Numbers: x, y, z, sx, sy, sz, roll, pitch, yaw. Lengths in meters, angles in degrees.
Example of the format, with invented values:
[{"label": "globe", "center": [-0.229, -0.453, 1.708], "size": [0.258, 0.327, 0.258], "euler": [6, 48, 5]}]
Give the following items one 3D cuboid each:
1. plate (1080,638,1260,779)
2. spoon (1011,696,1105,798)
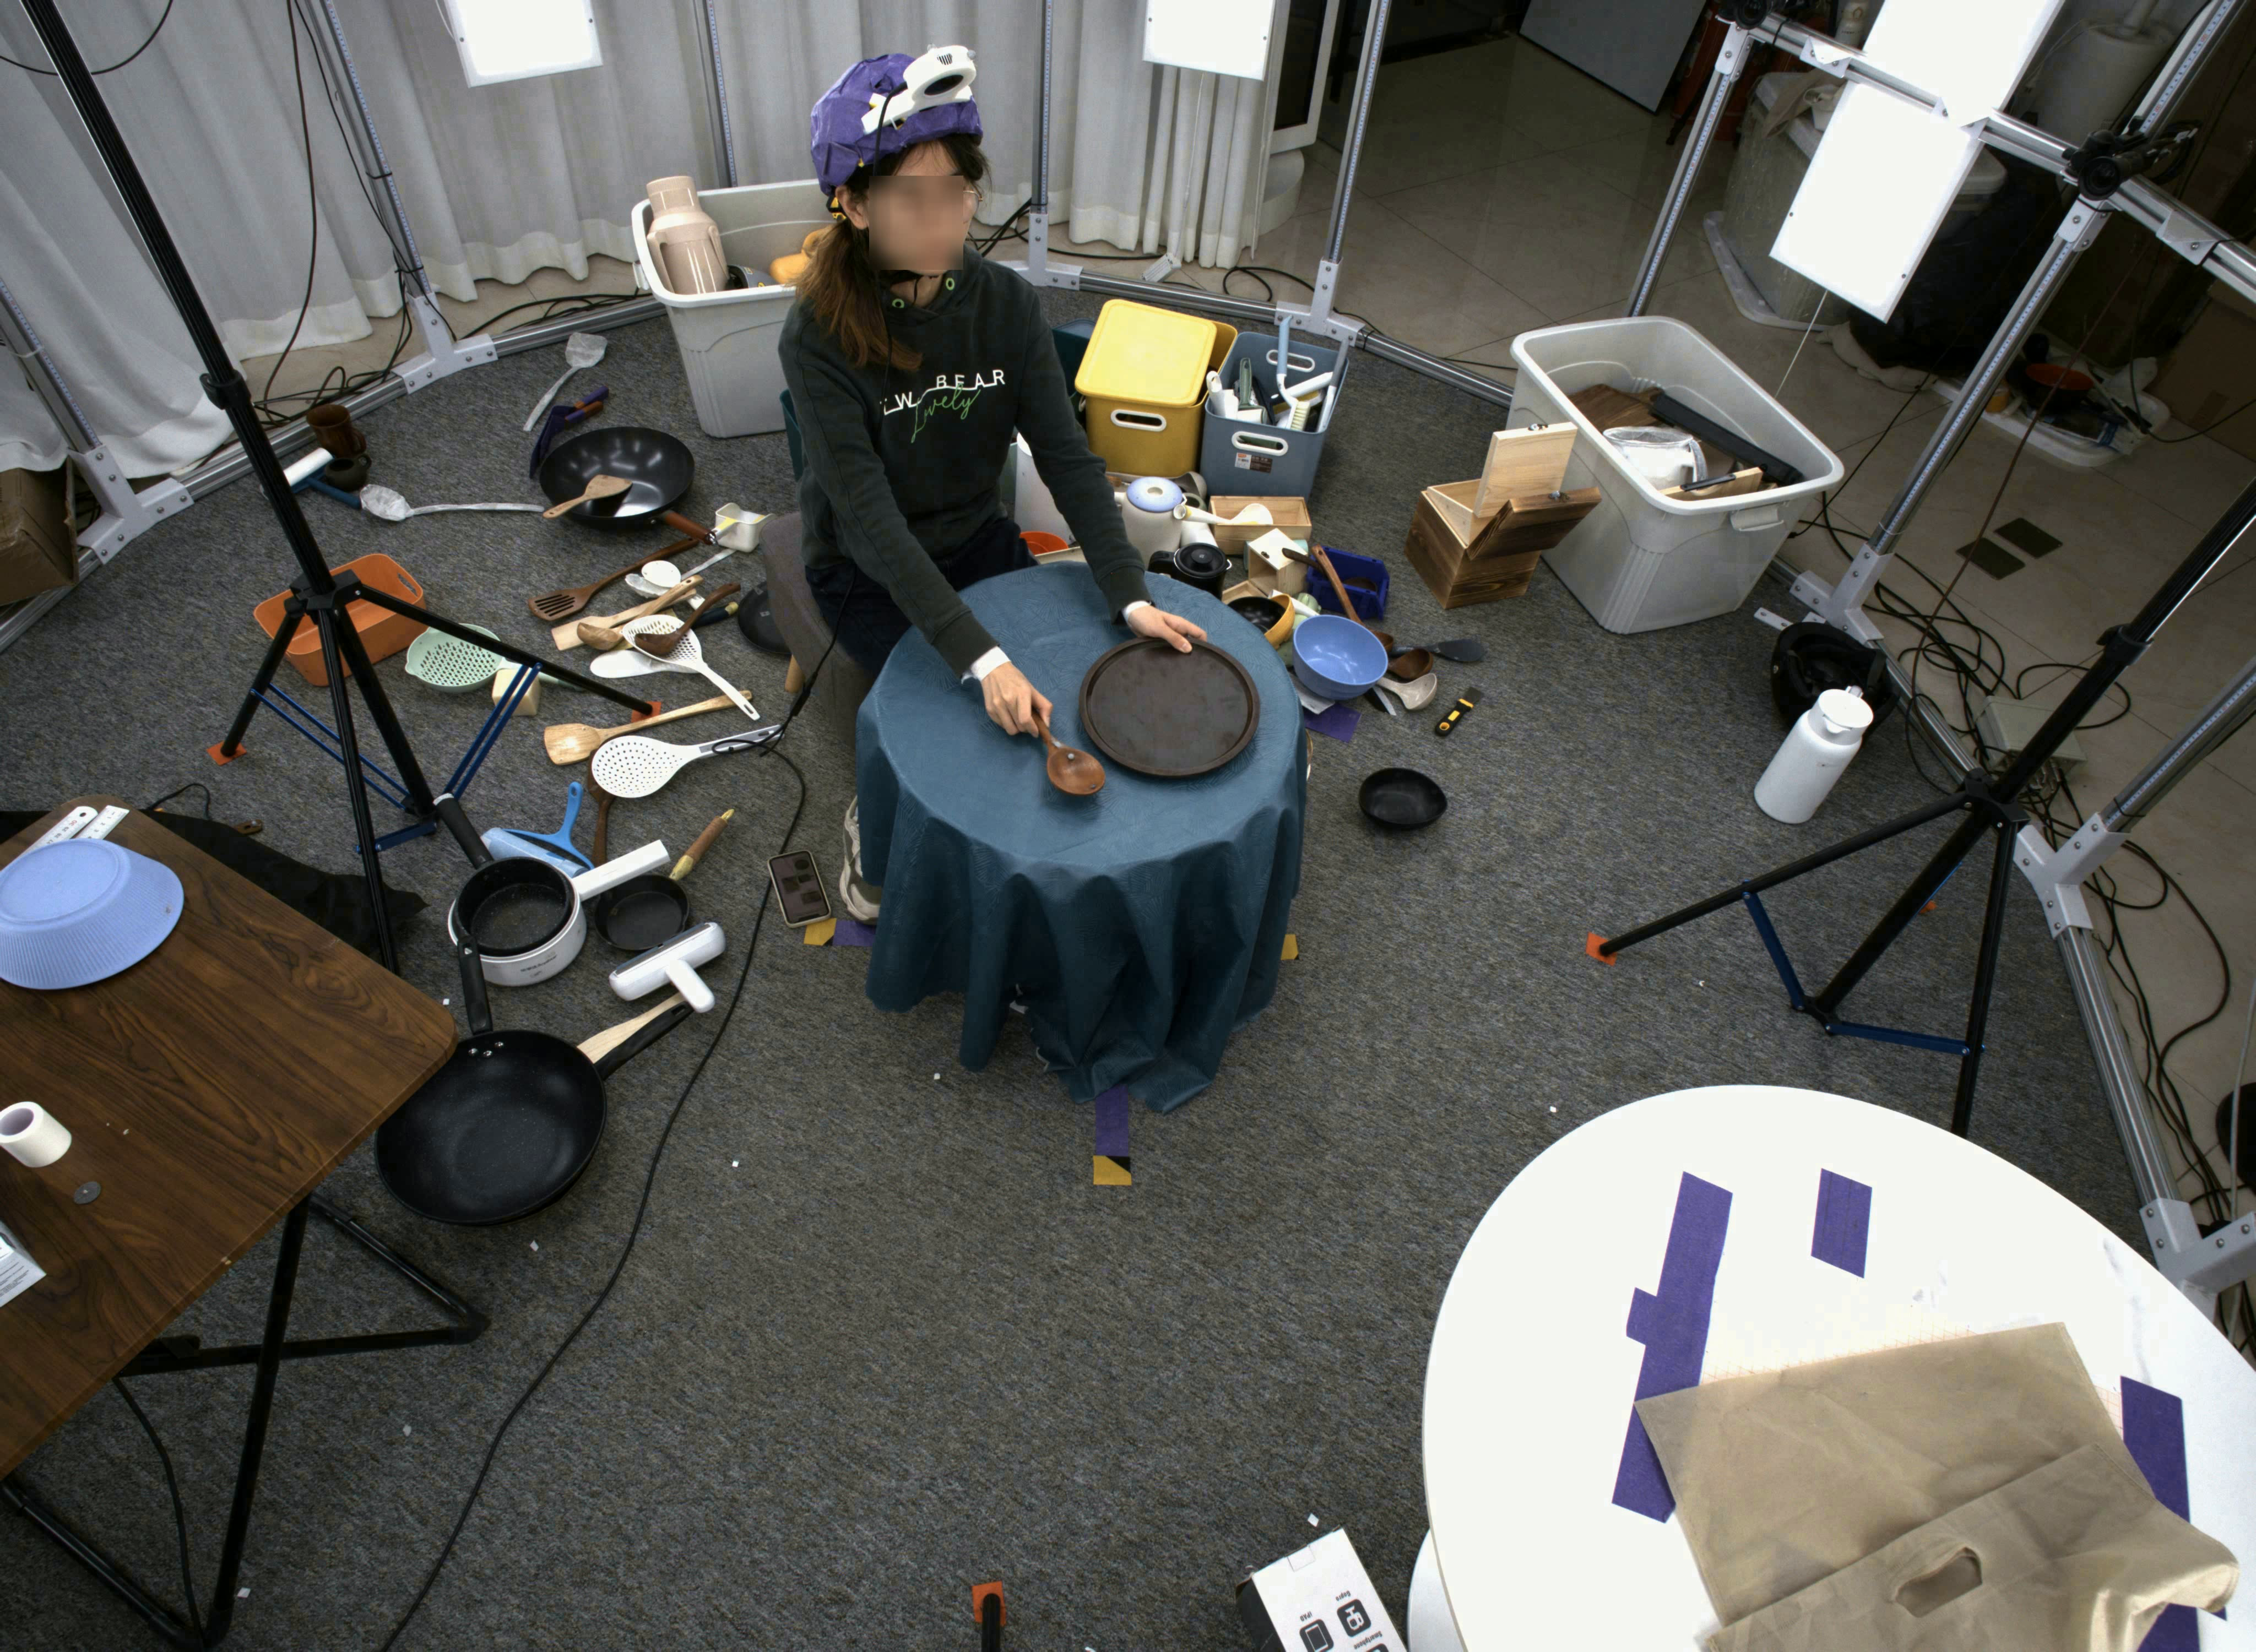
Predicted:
[{"label": "plate", "center": [0.059, -0.166, 1.803], "size": [0.254, 0.028, 0.261], "euler": [1, 55, -2]}, {"label": "spoon", "center": [-0.102, -0.108, 1.739], "size": [0.075, 0.017, 0.220], "euler": [-19, 50, -23]}]
